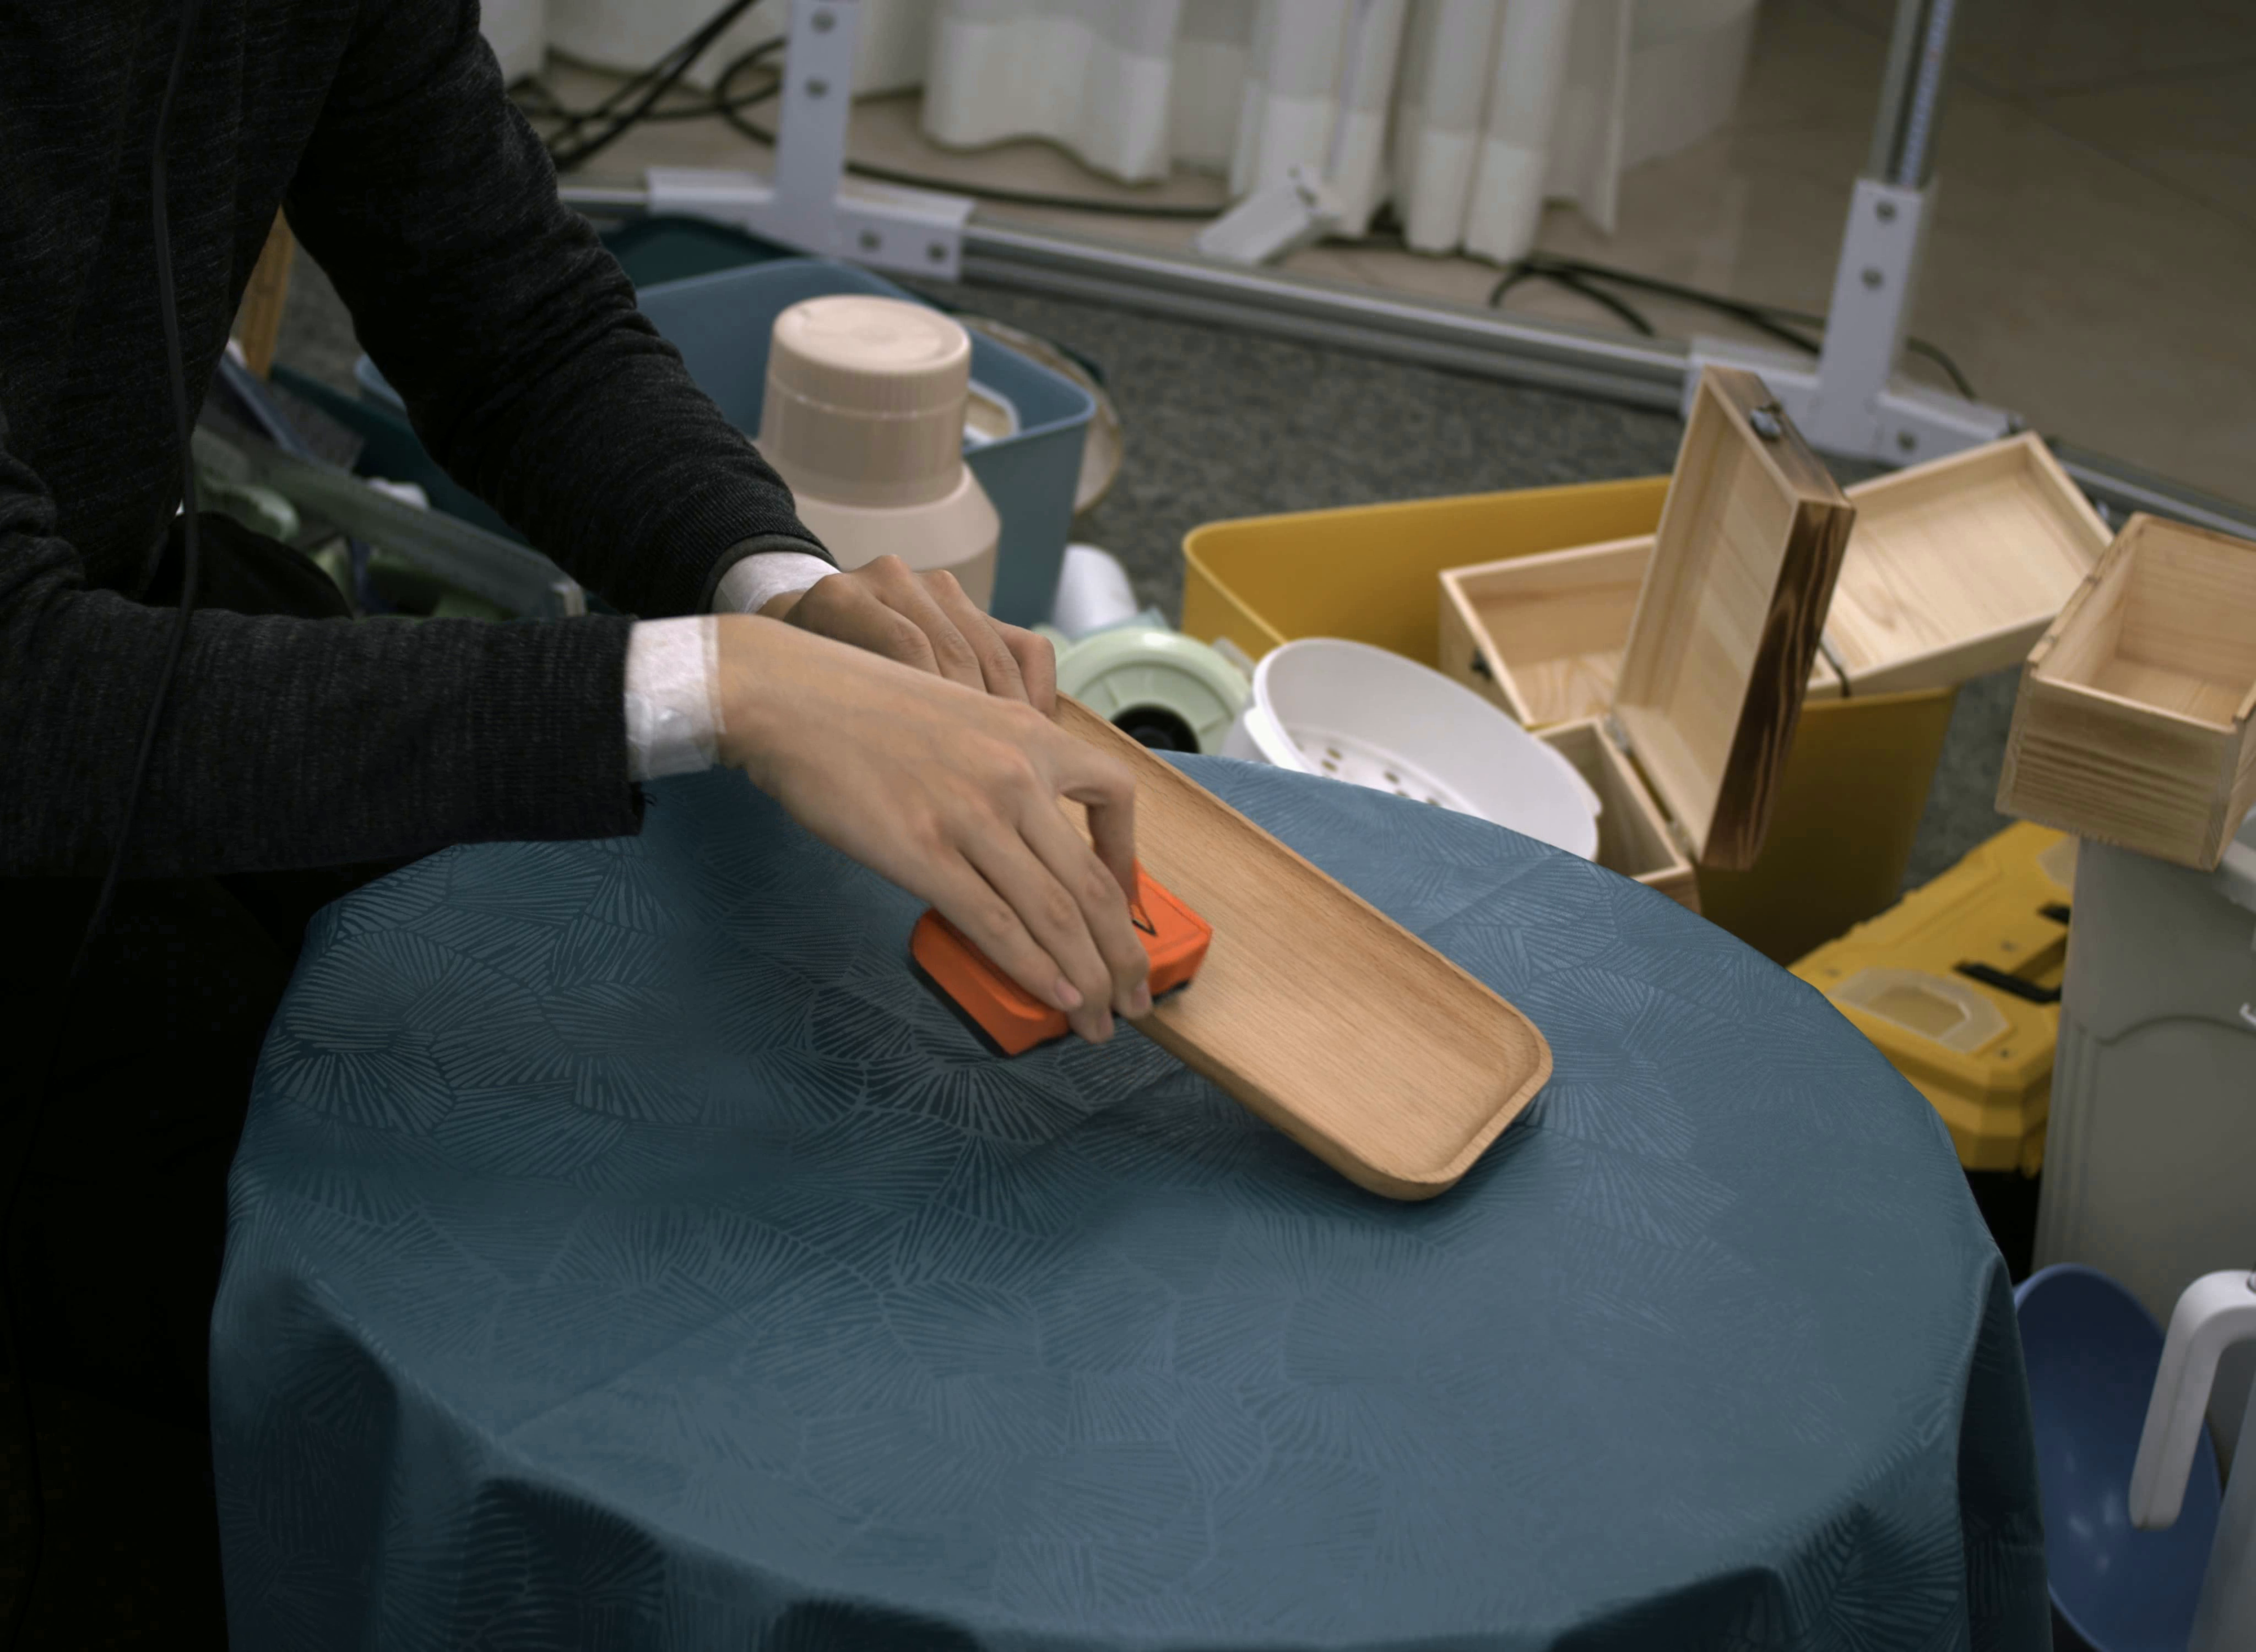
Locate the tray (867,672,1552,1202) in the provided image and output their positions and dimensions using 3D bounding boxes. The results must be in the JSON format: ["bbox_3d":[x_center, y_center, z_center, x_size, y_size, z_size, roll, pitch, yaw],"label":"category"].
[{"bbox_3d":[0.028,0.038,1.870,0.251,0.023,0.130,35,34,13],"label":"tray"}]

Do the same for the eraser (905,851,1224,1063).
[{"bbox_3d":[-0.021,0.044,1.802,0.059,0.023,0.107,41,37,26],"label":"eraser"}]
